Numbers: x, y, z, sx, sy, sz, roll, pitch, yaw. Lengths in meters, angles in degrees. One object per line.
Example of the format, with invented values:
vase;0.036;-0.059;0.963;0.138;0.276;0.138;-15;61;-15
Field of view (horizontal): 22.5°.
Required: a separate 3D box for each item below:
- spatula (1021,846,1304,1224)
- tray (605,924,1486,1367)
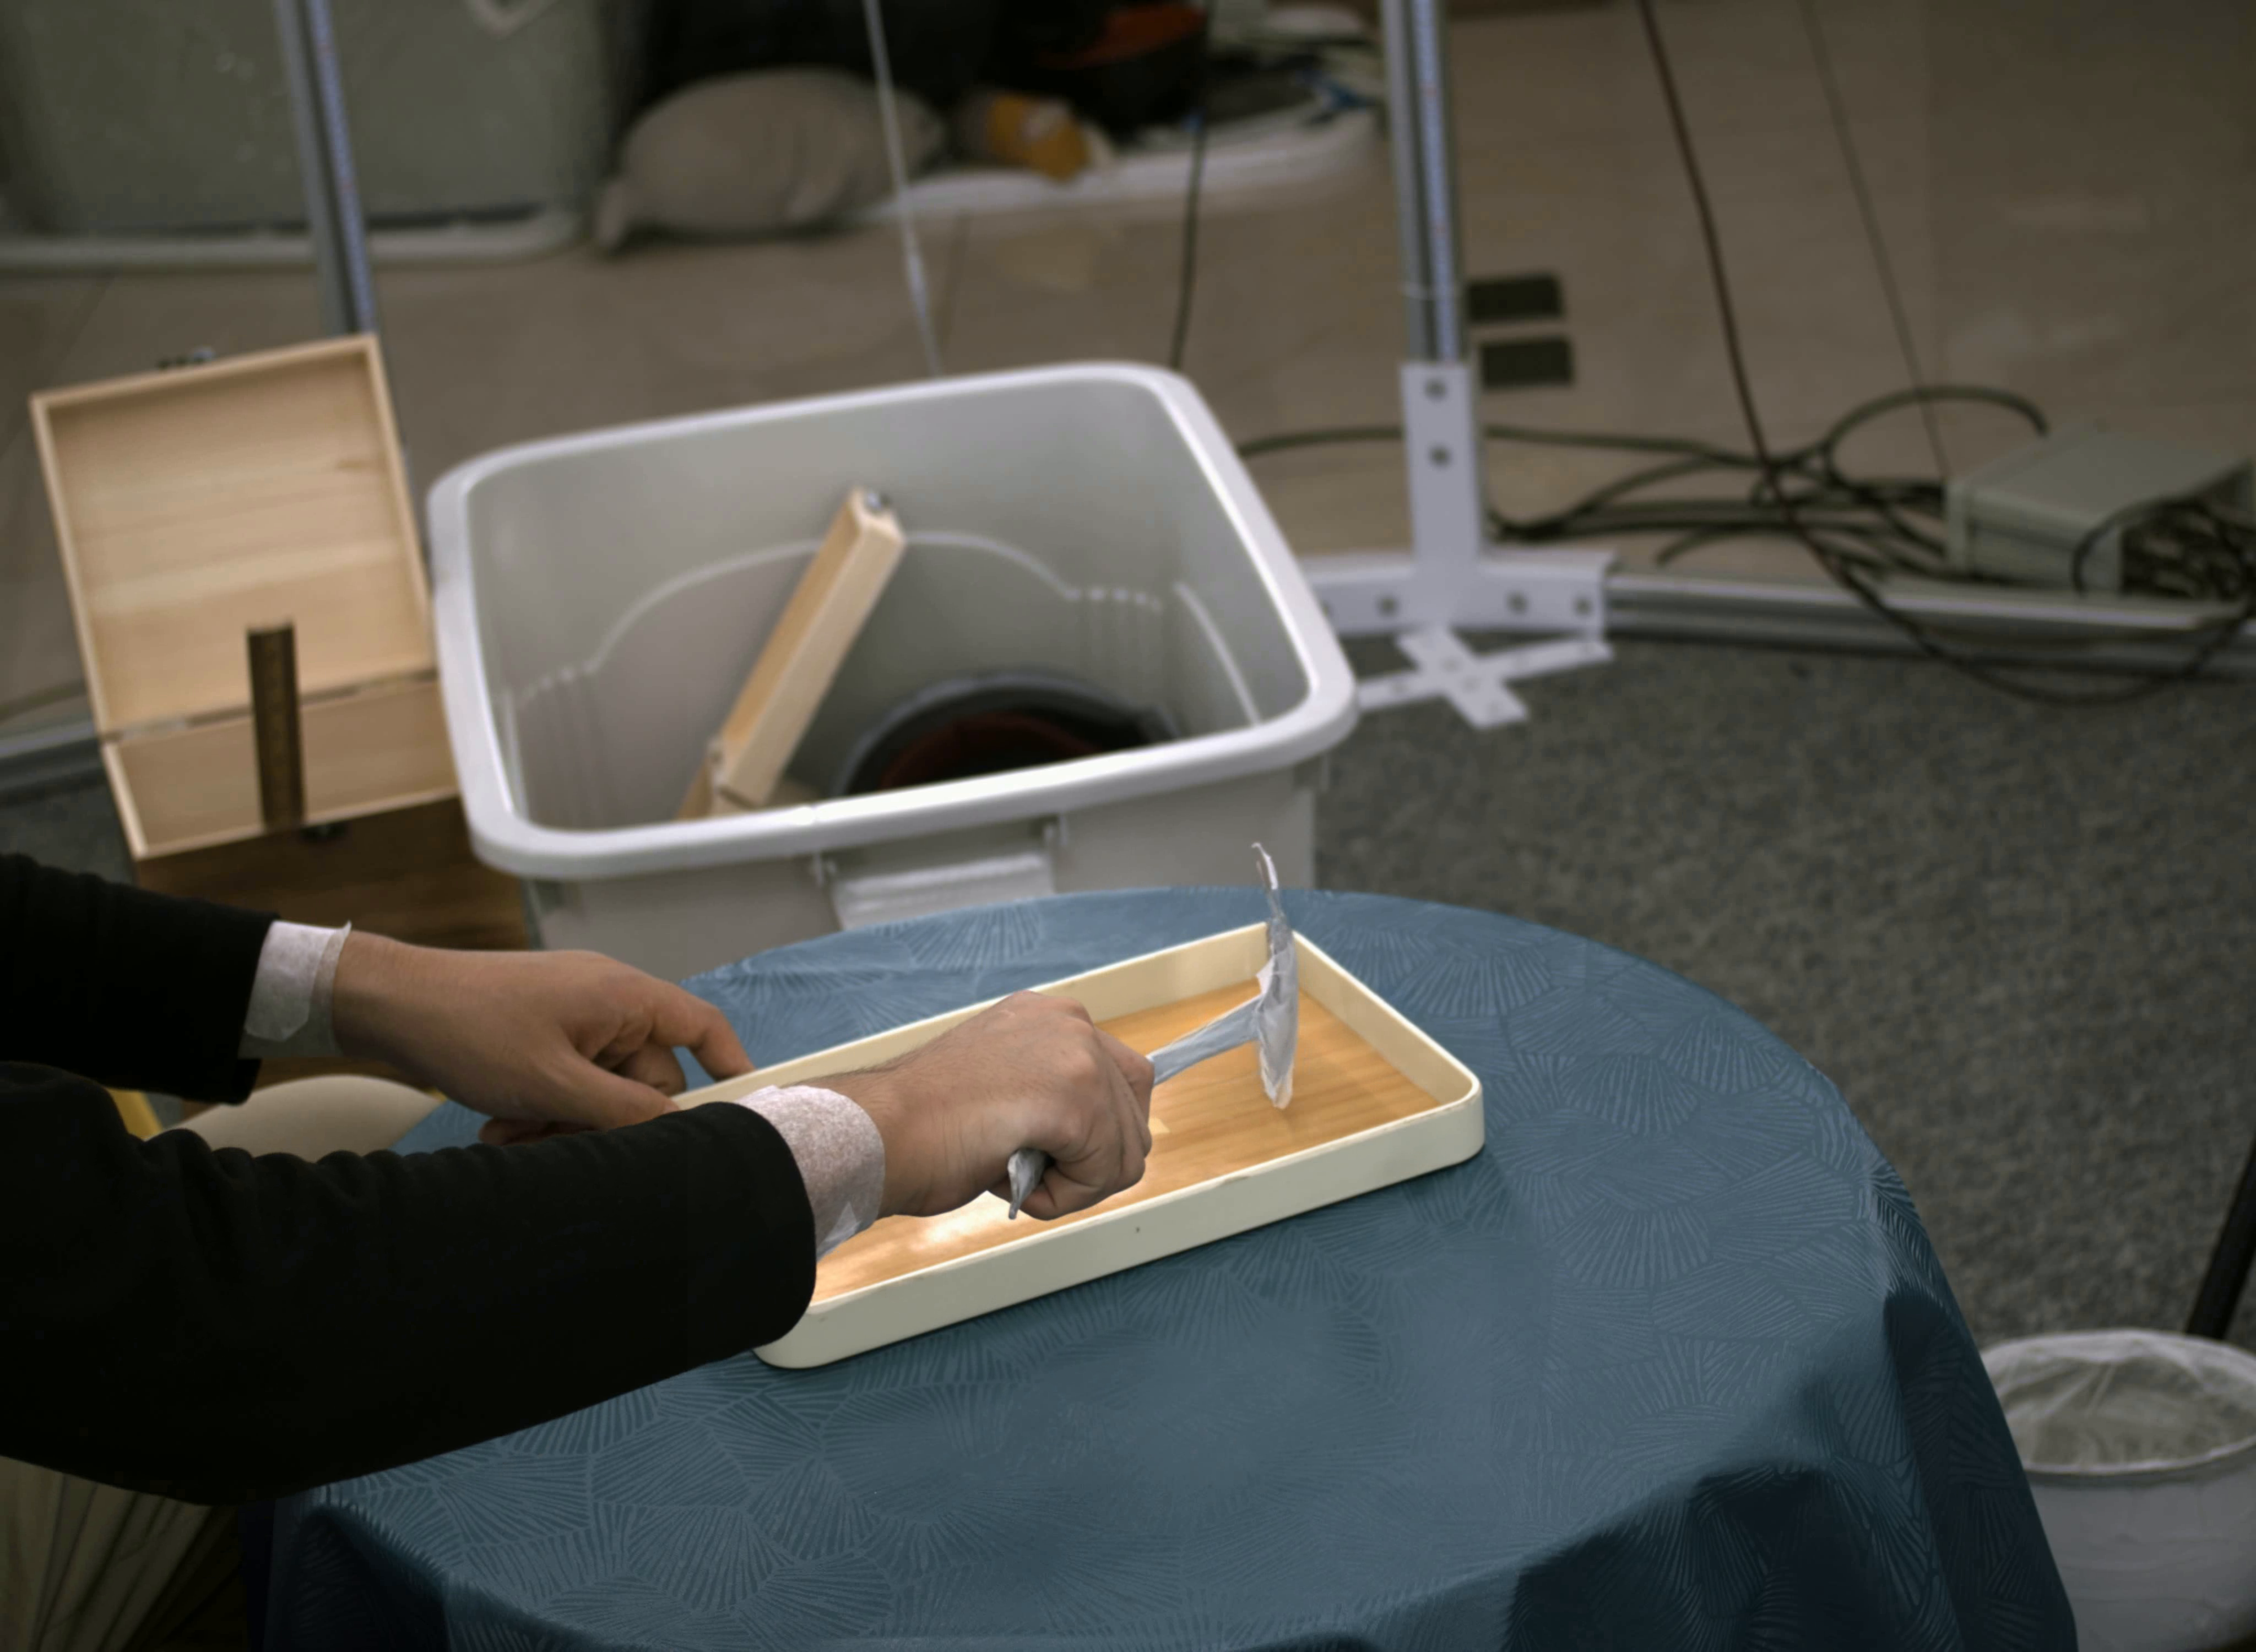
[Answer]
spatula;0.011;0.086;2.043;0.044;0.099;0.362;5;12;20
tray;-0.033;0.118;2.168;0.299;0.028;0.189;-16;27;-19
